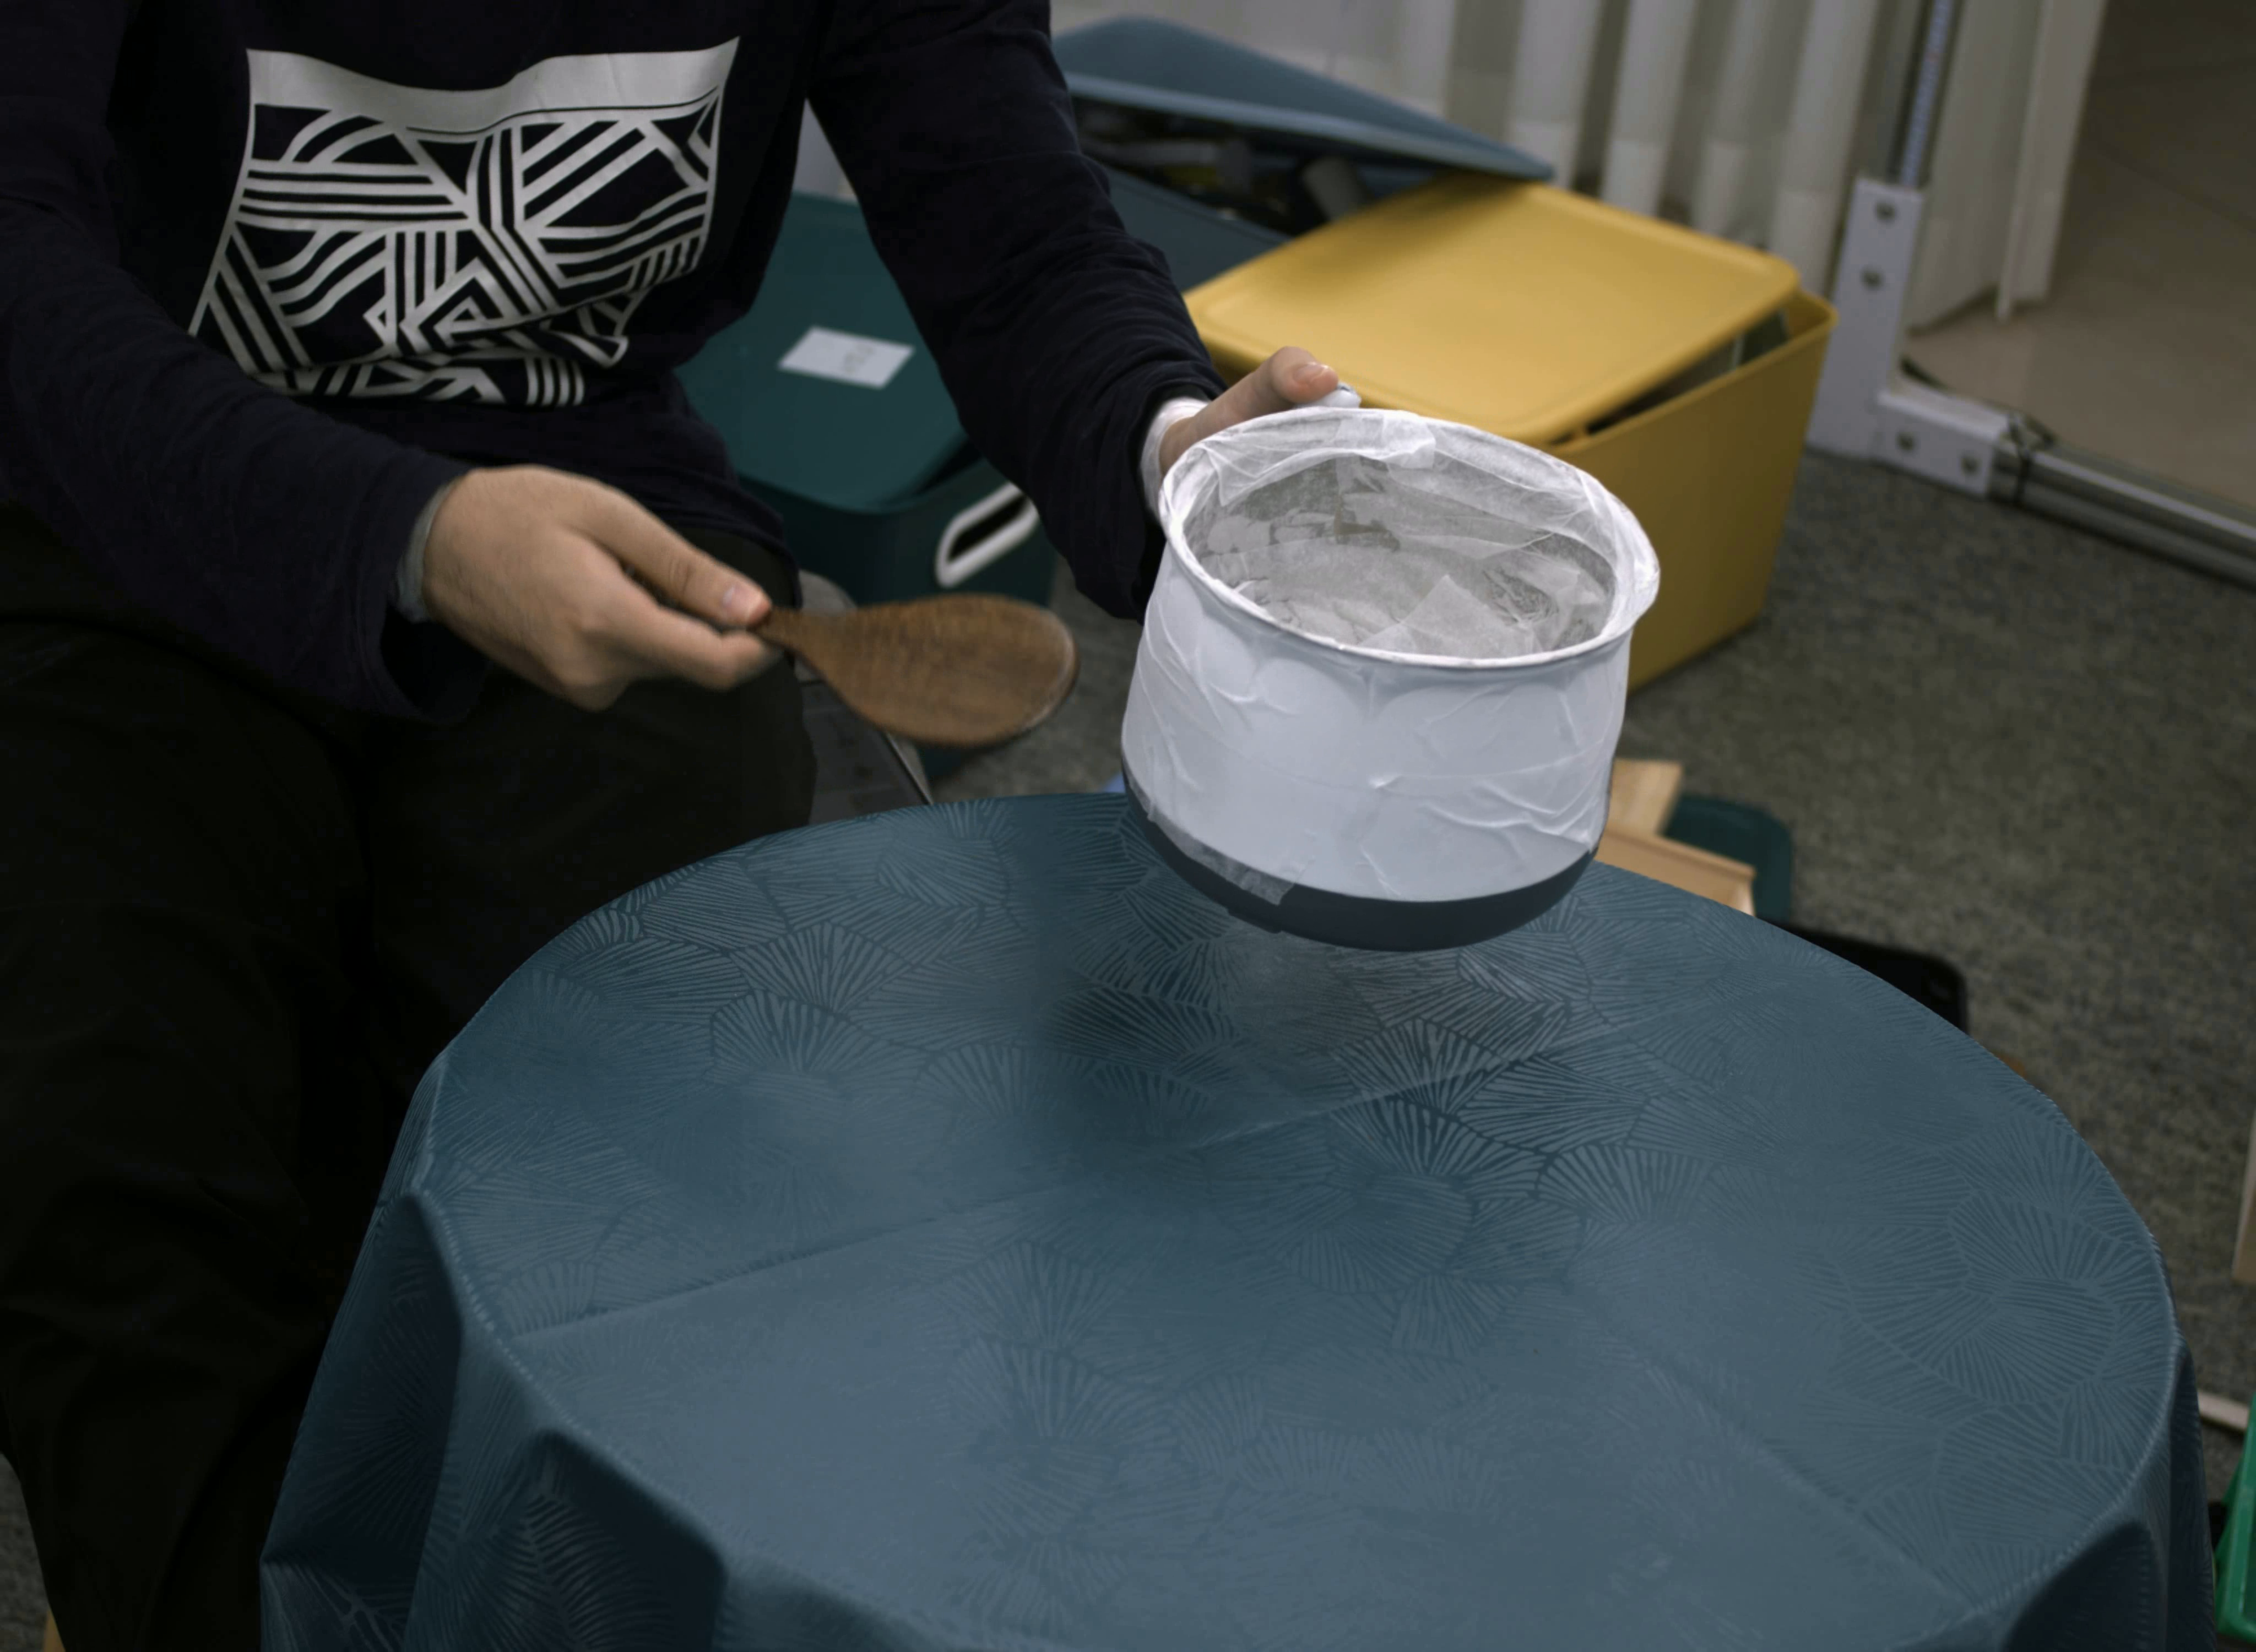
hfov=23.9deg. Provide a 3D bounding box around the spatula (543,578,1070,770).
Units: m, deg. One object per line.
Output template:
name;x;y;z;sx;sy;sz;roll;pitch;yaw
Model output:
spatula;-0.114;-0.061;1.846;0.217;0.009;0.072;15;47;30

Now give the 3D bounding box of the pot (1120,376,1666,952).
pot;0.083;-0.066;1.912;0.177;0.136;0.236;1;34;-17
